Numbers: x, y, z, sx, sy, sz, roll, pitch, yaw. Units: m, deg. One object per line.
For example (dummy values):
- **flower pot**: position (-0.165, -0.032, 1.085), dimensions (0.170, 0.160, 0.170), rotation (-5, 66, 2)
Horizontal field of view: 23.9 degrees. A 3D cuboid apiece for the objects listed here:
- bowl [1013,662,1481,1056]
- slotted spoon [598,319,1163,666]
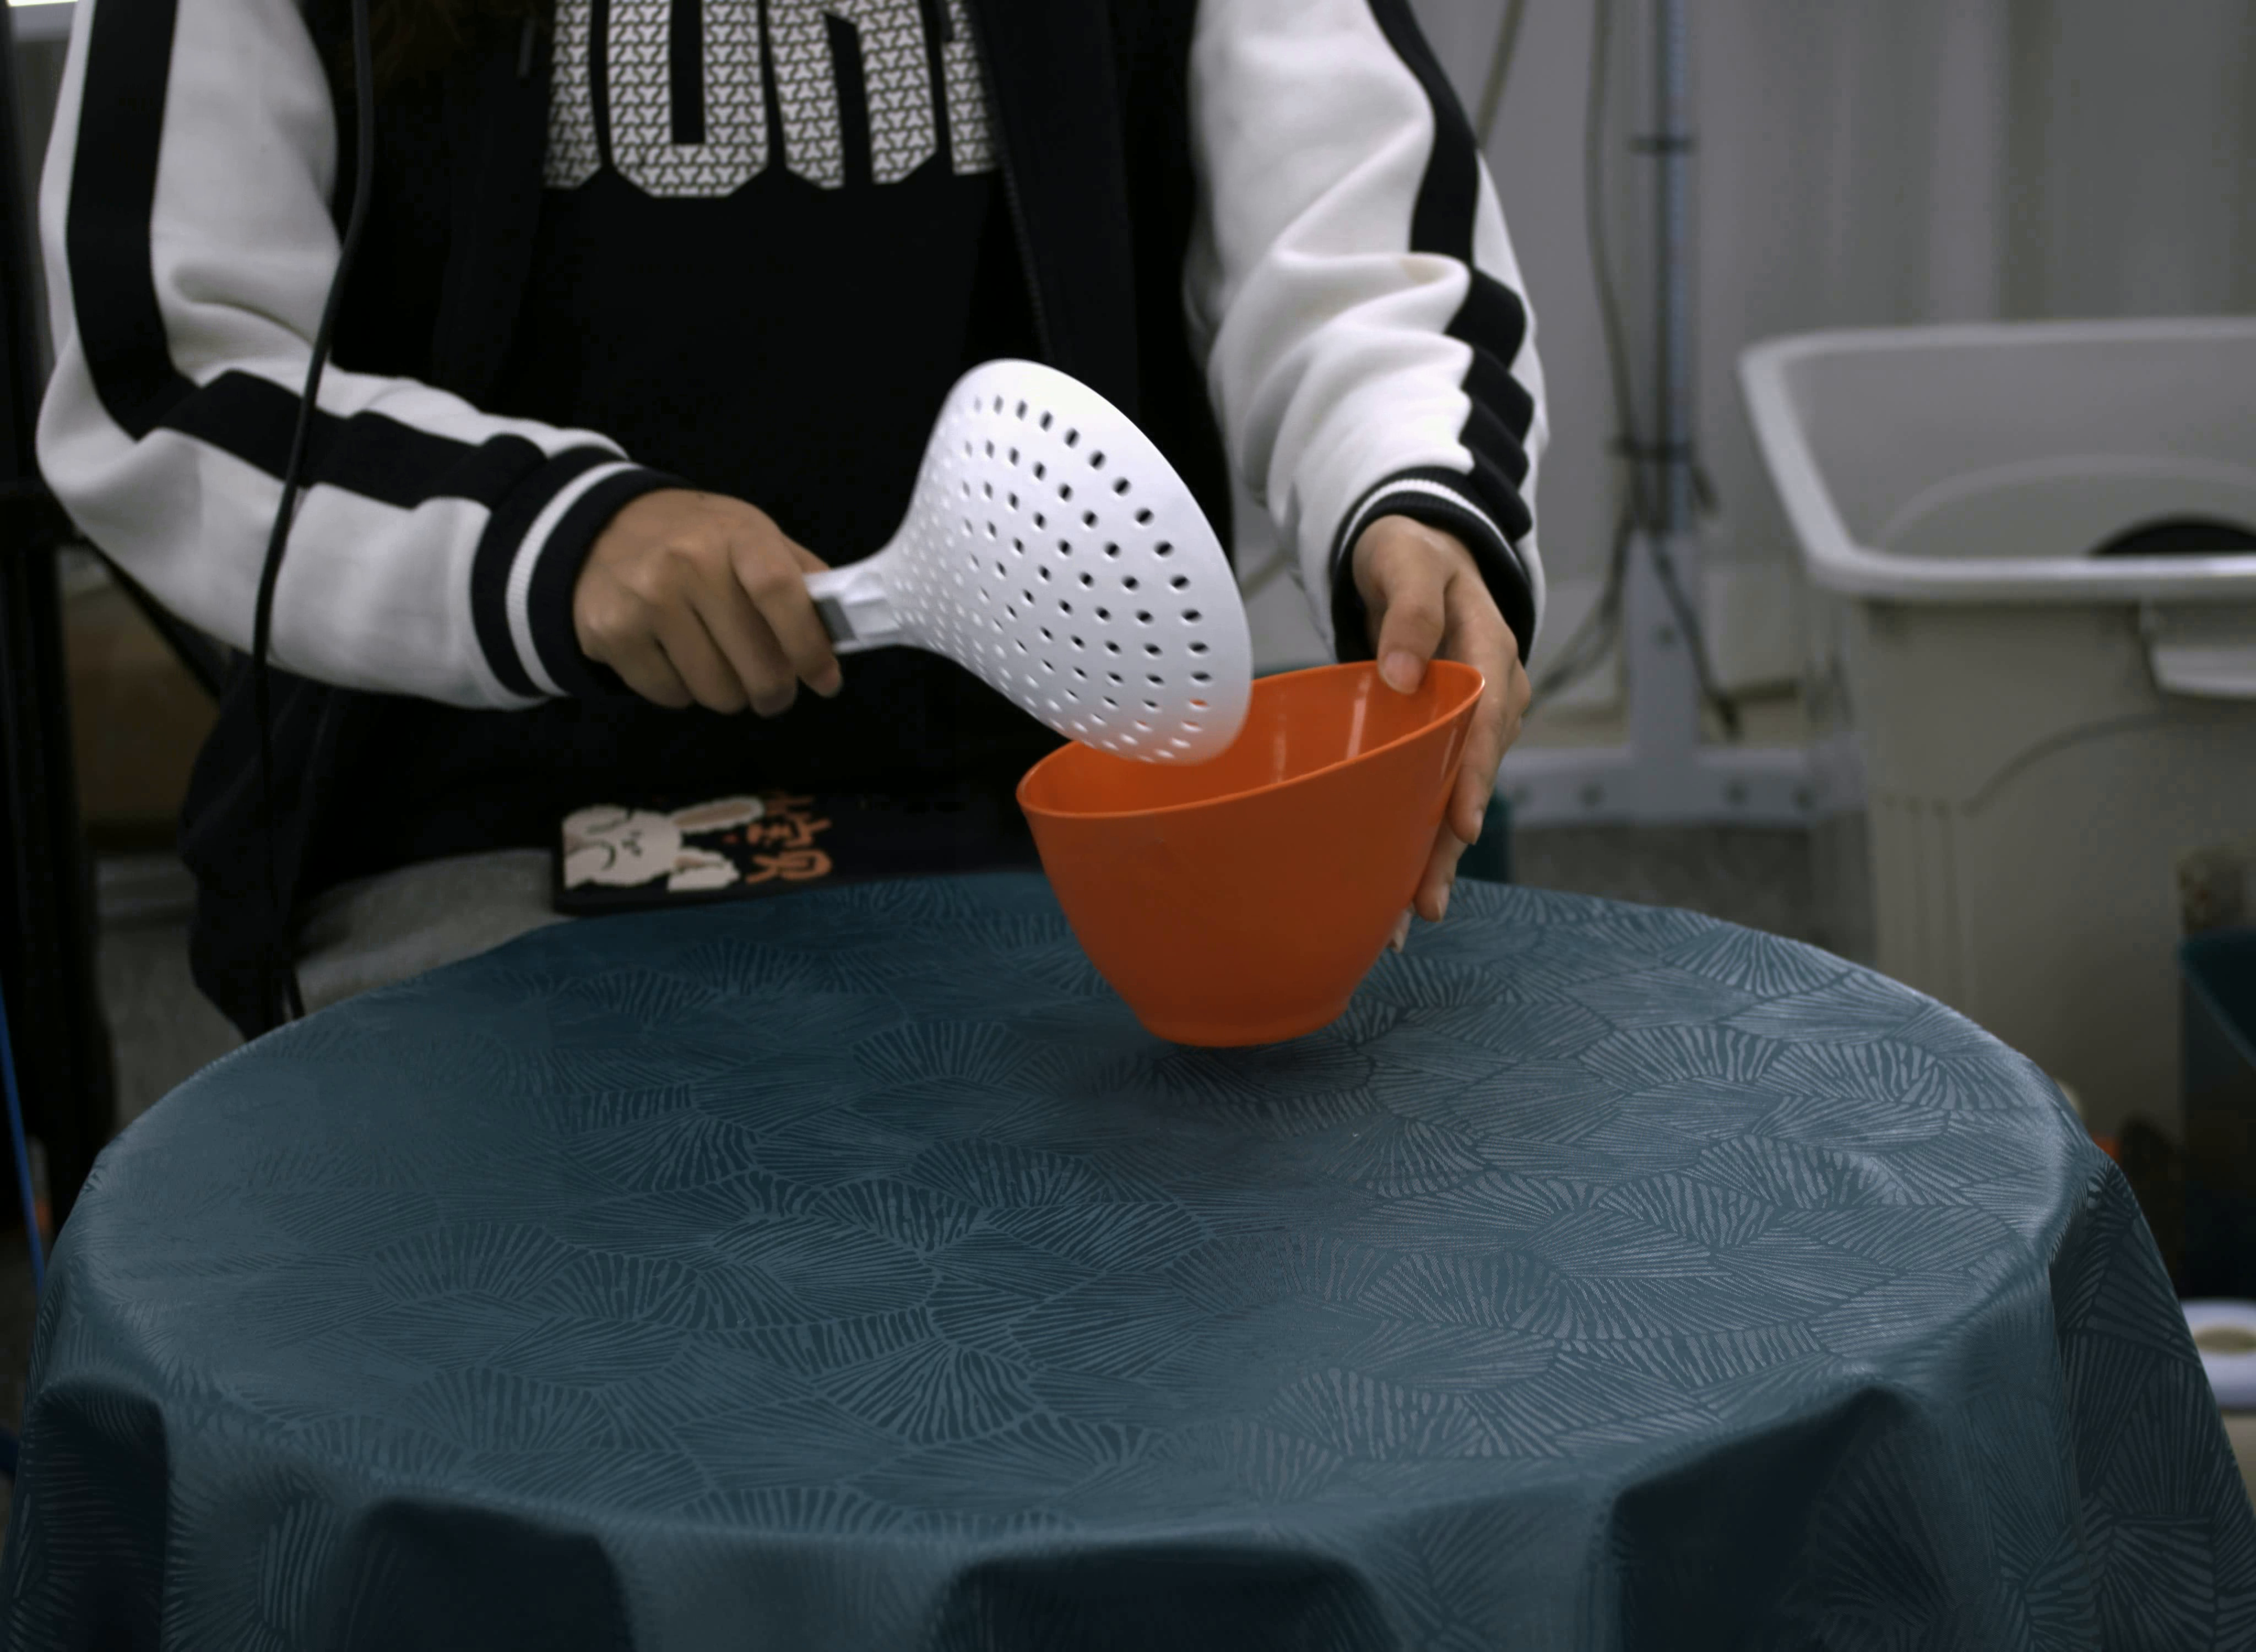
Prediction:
- **bowl**: position (0.041, 0.013, 1.646), dimensions (0.147, 0.104, 0.149), rotation (-7, 19, 1)
- **slotted spoon**: position (-0.096, -0.089, 1.686), dimensions (0.045, 0.134, 0.355), rotation (-46, 16, -16)
